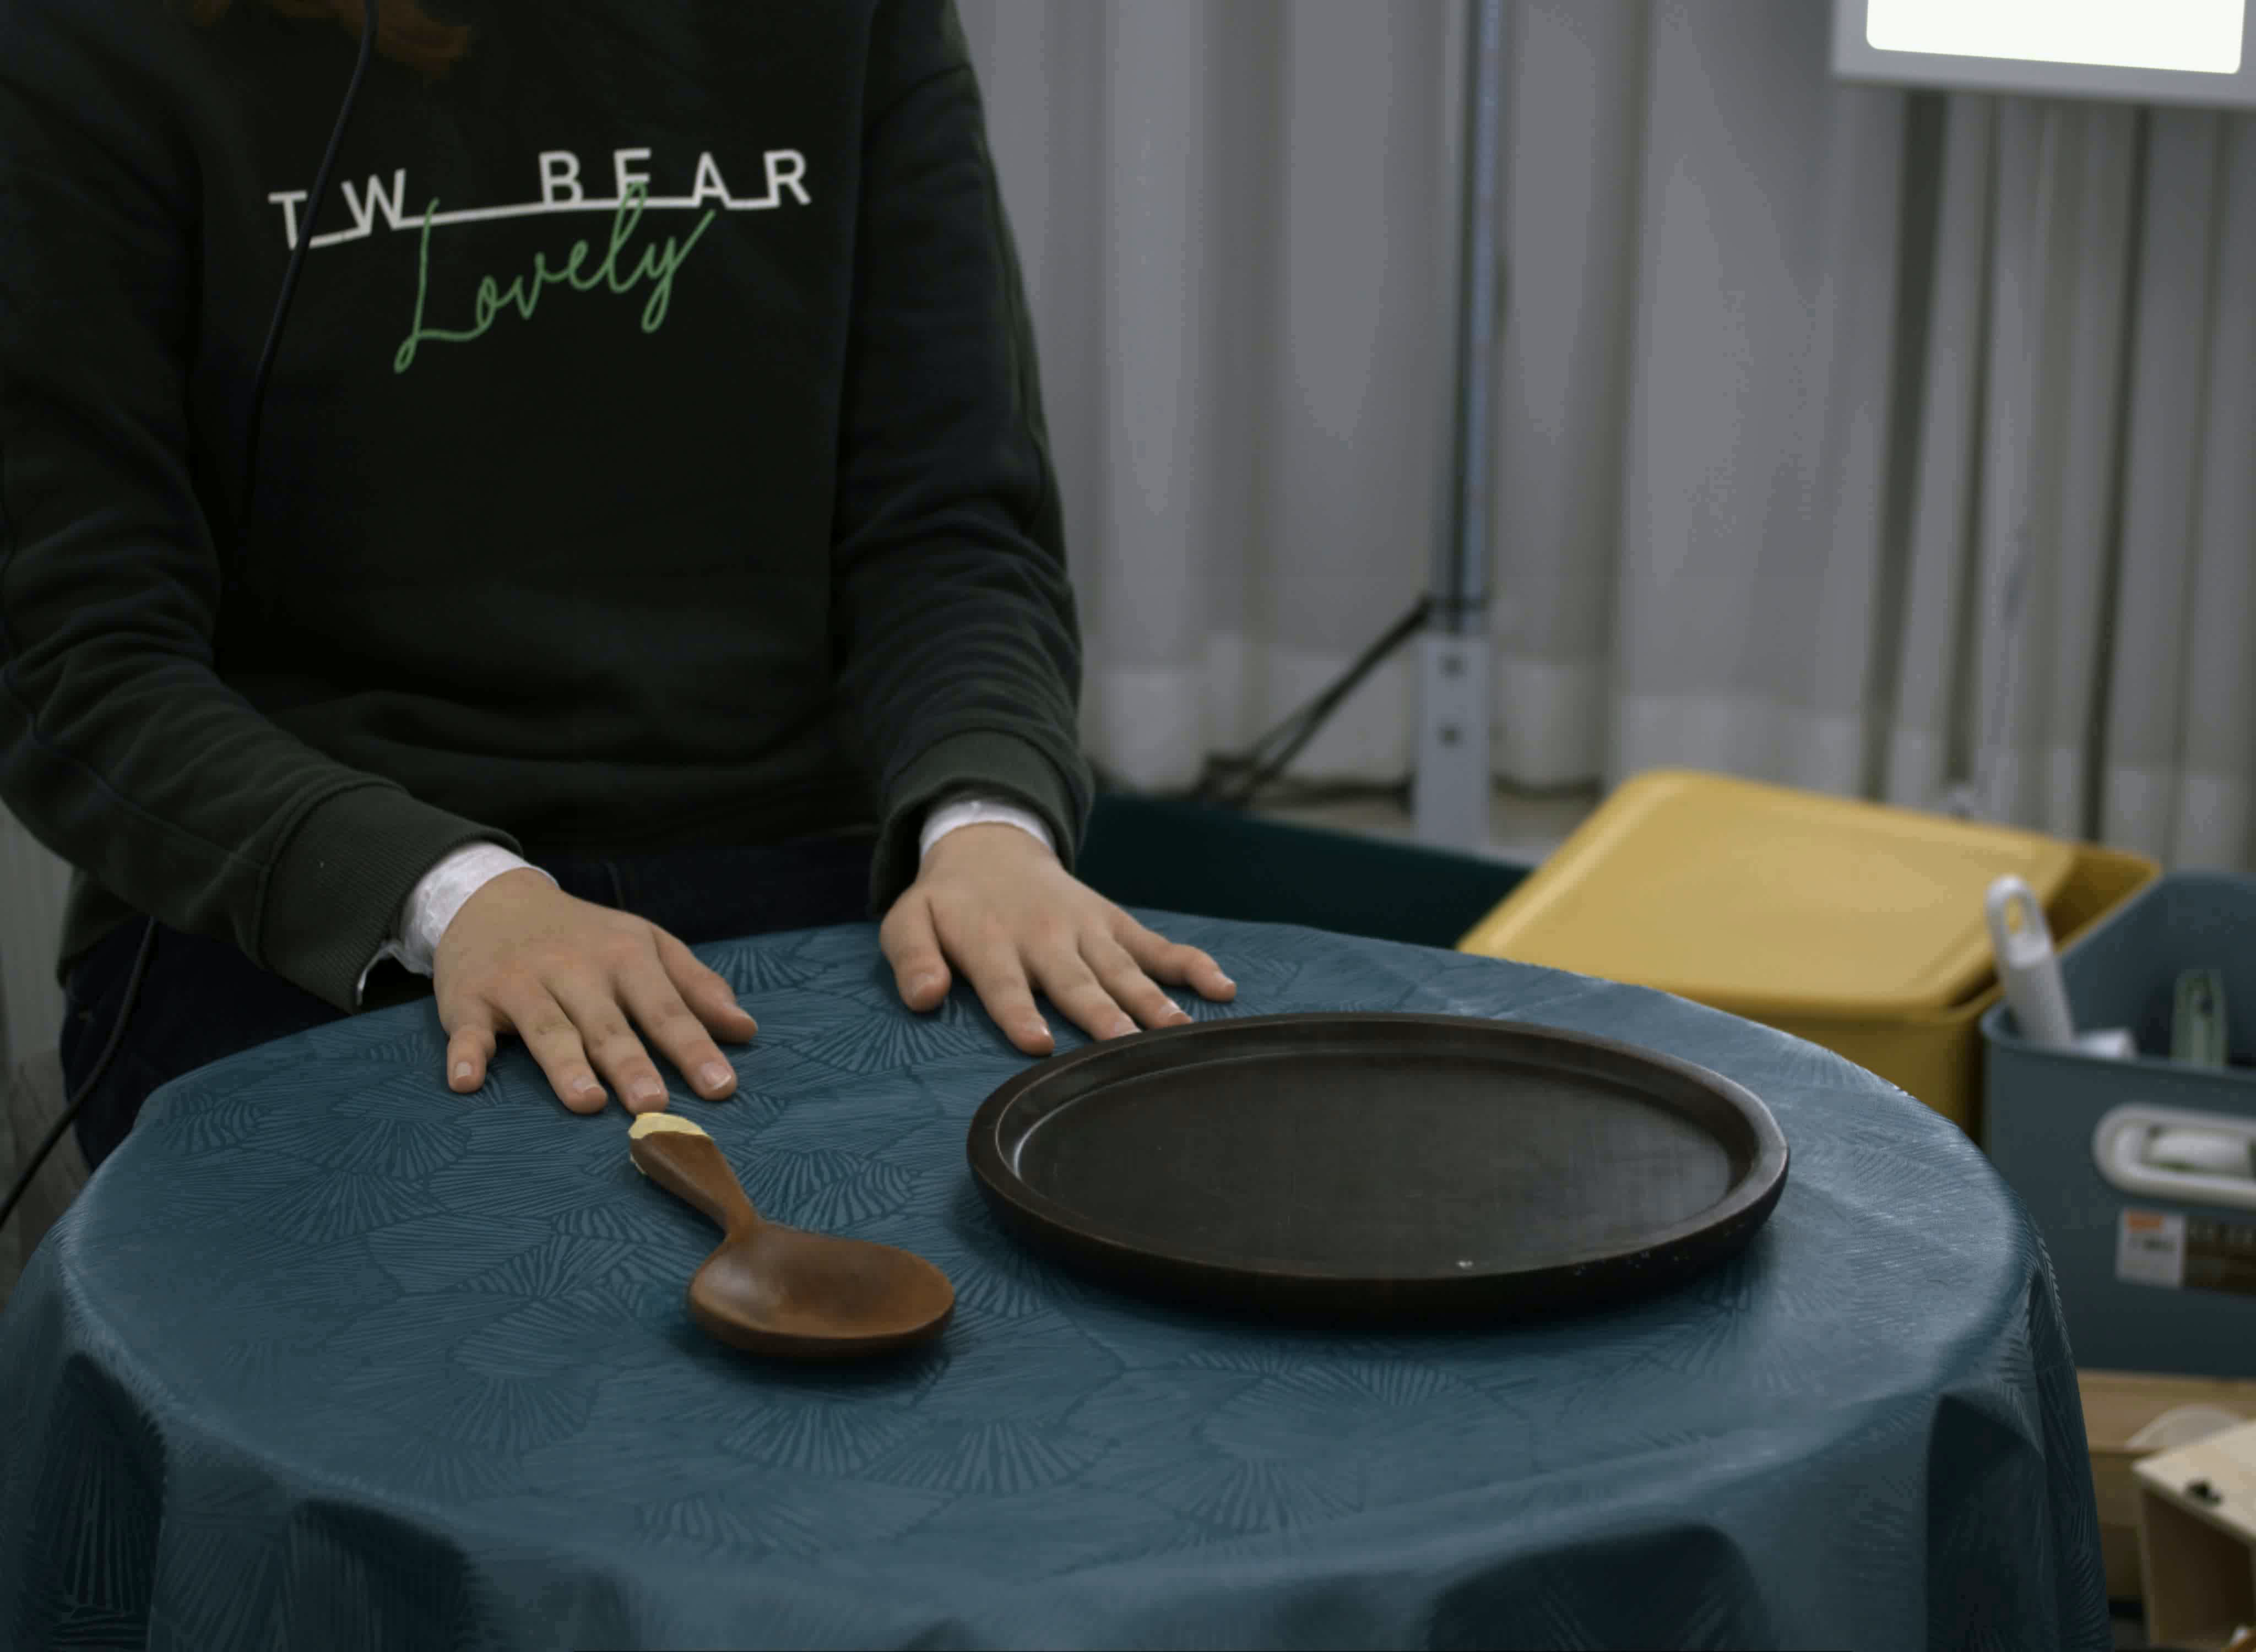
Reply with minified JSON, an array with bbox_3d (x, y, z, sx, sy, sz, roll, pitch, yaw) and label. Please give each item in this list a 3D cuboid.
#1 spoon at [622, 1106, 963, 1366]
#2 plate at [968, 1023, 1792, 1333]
[{"bbox_3d":[-0.109,0.122,1.558,0.076,0.017,0.213,-6,17,-21],"label":"spoon"},{"bbox_3d":[0.077,0.105,1.617,0.254,0.029,0.253,2,16,0],"label":"plate"}]
